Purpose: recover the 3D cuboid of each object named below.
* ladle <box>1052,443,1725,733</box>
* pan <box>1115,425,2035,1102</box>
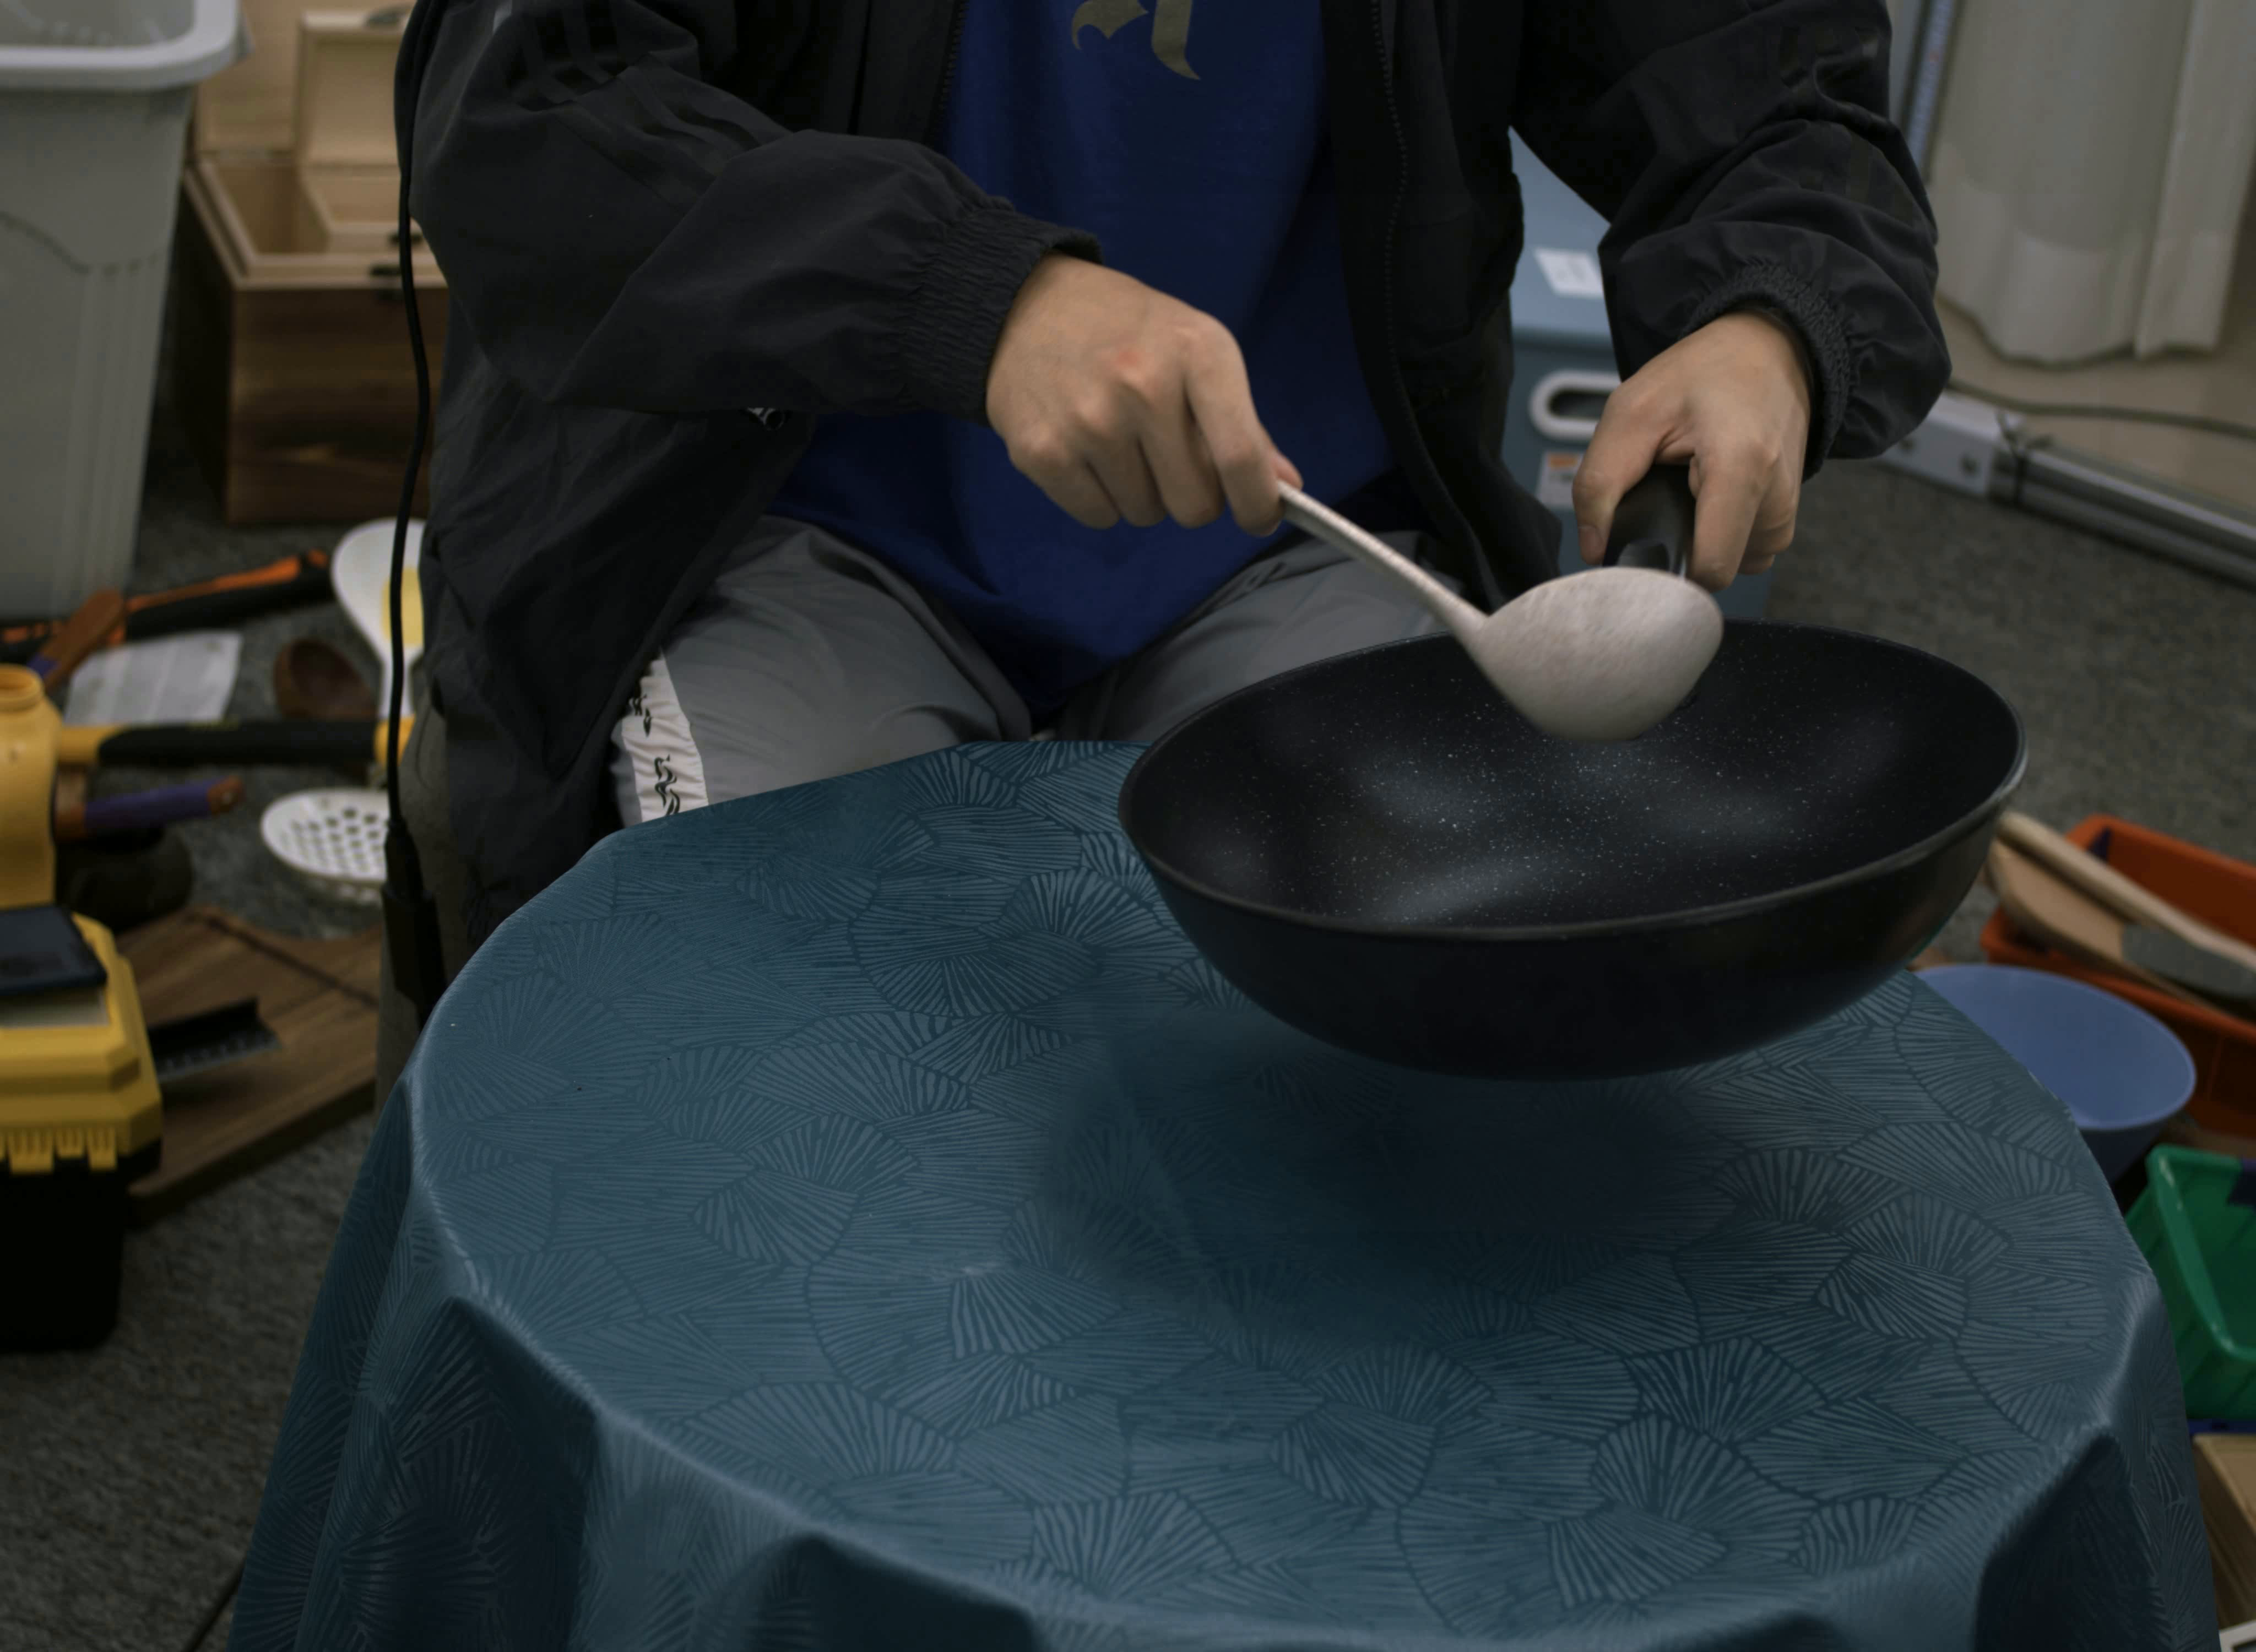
[{"bbox_3d":[0.091,-0.108,1.920,0.277,0.088,0.069,28,67,37],"label":"ladle"},{"bbox_3d":[0.169,-0.020,1.883,0.310,0.111,0.478,0,21,13],"label":"pan"}]
